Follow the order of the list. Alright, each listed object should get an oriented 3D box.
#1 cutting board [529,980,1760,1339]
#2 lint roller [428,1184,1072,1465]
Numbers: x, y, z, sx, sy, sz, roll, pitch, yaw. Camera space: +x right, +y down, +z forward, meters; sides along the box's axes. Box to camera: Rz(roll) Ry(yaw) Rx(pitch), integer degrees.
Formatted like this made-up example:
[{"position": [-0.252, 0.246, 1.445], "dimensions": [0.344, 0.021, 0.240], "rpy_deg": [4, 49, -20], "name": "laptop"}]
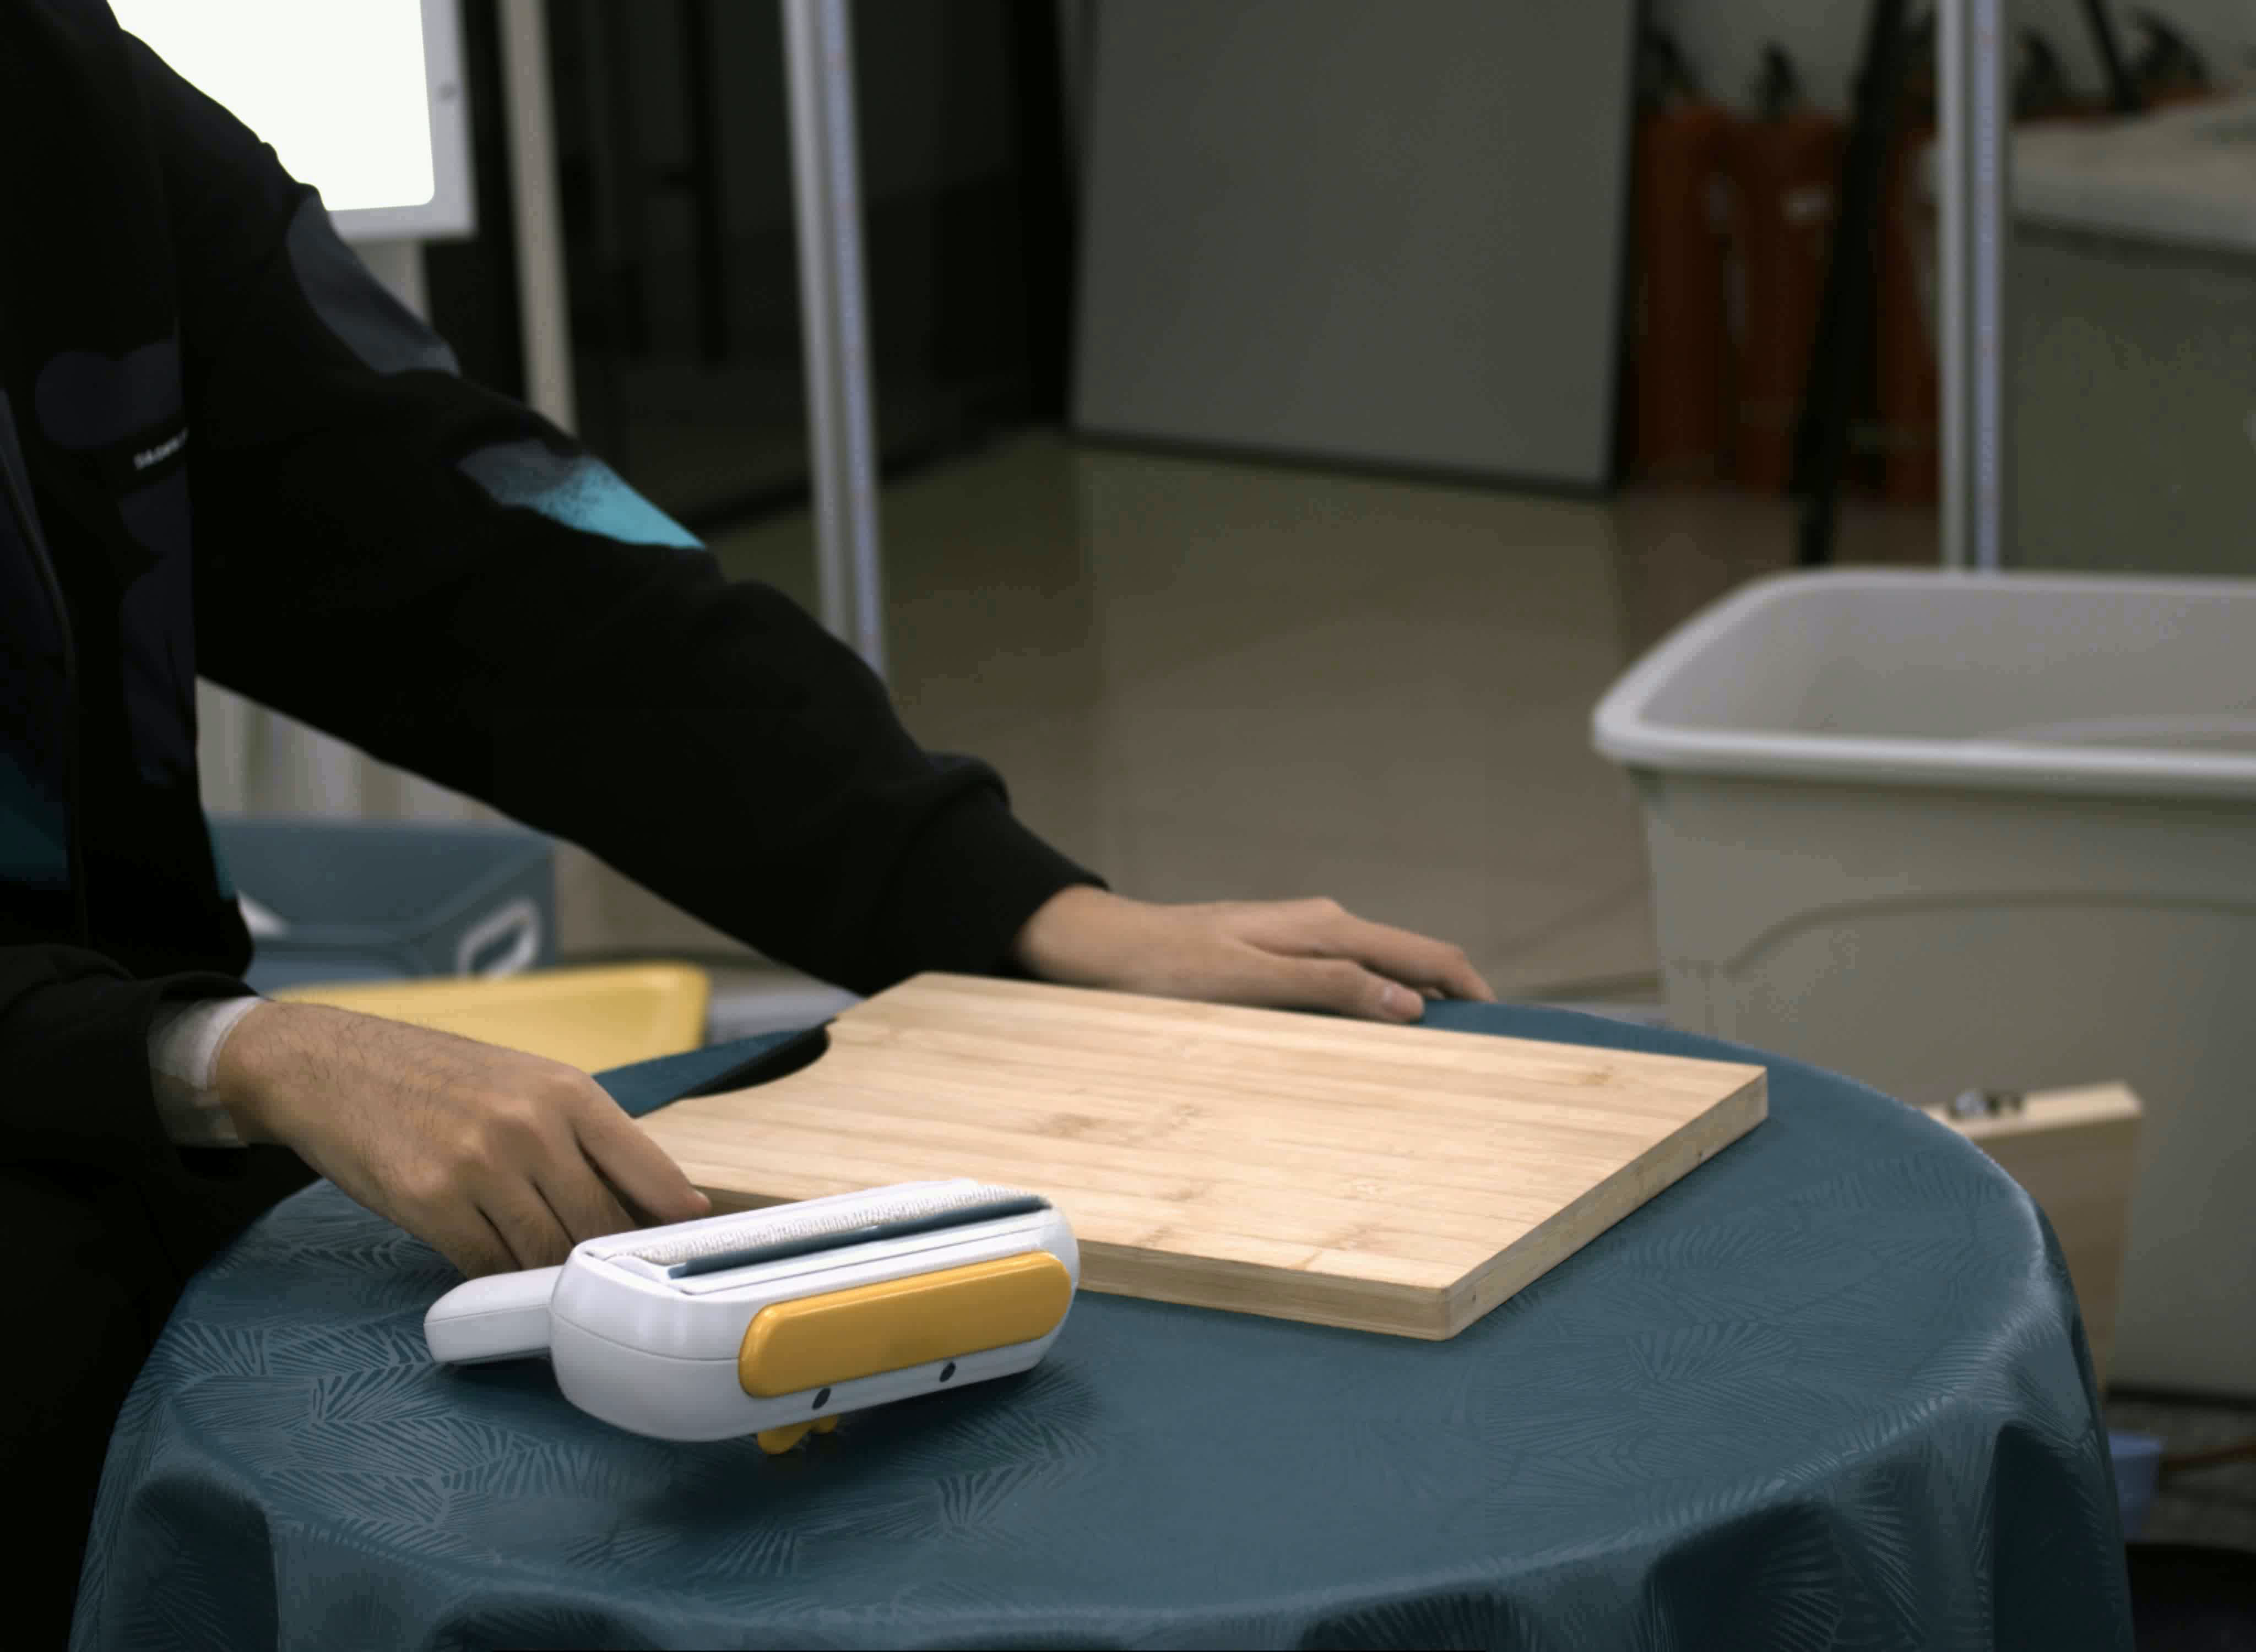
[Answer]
[{"position": [0.007, 0.106, 1.798], "dimensions": [0.350, 0.024, 0.247], "rpy_deg": [4, 16, 31], "name": "cutting board"}, {"position": [-0.136, 0.141, 1.591], "dimensions": [0.194, 0.075, 0.189], "rpy_deg": [6, 12, 42], "name": "lint roller"}]
